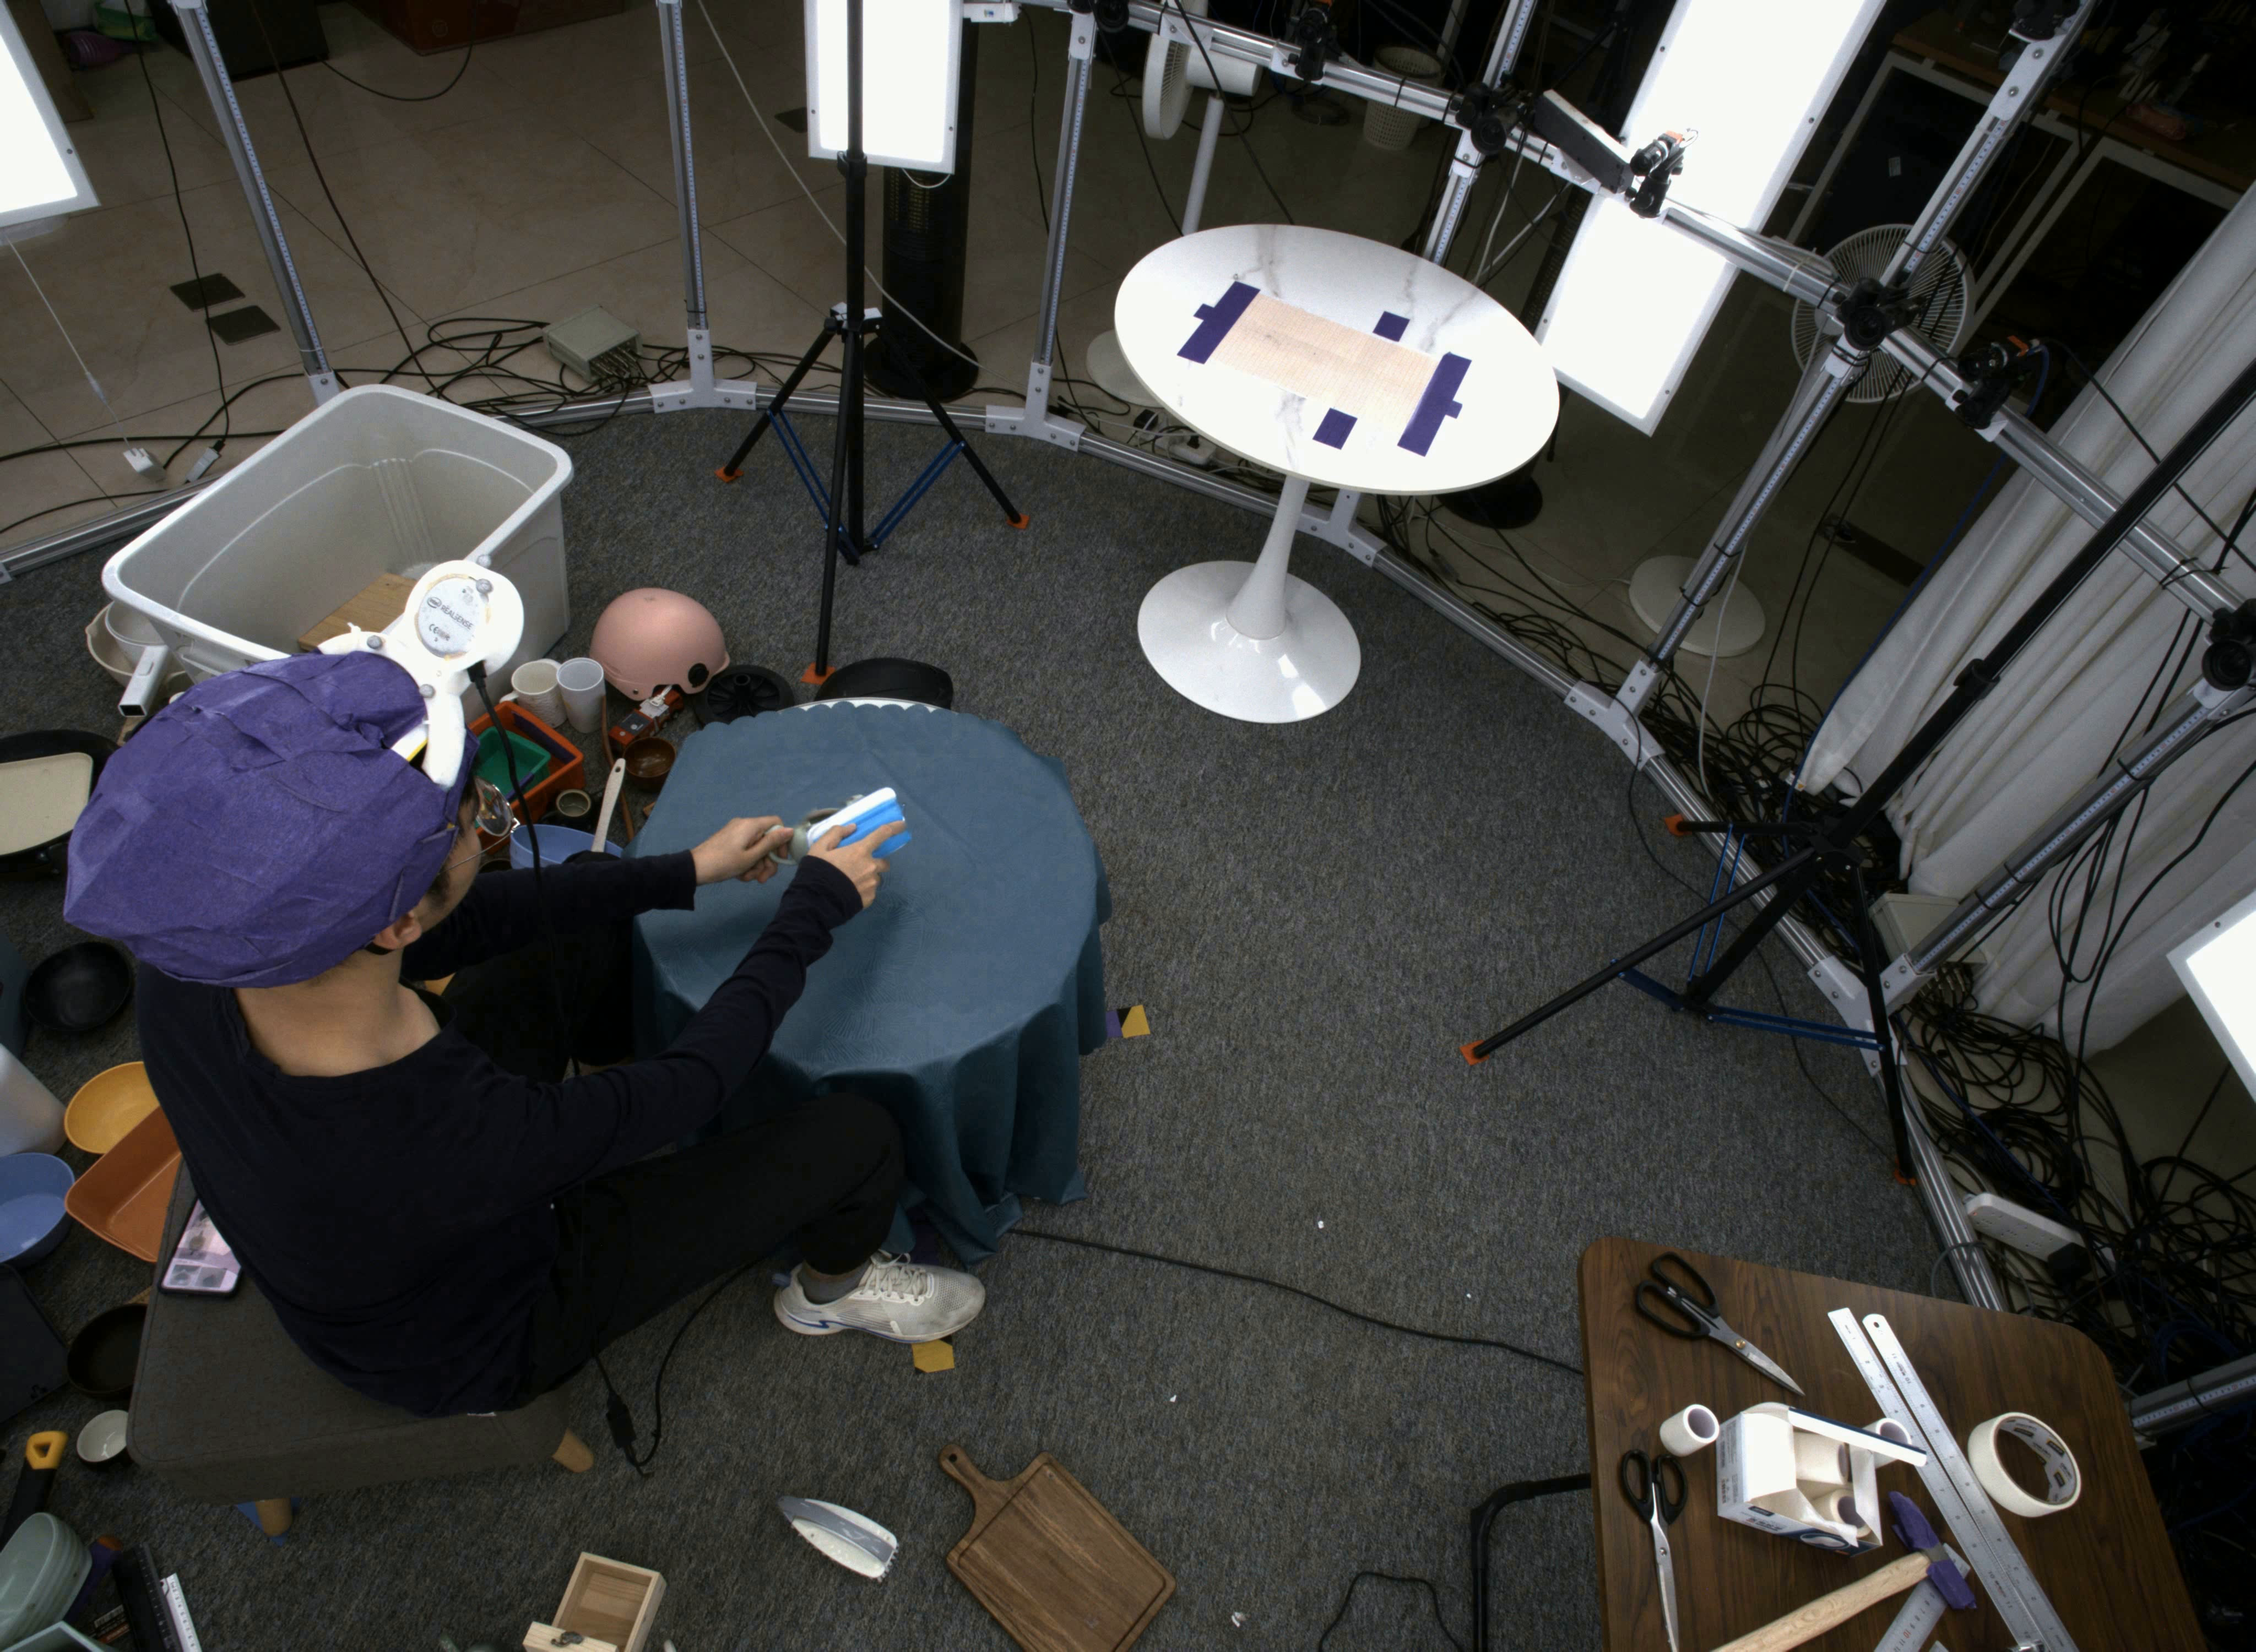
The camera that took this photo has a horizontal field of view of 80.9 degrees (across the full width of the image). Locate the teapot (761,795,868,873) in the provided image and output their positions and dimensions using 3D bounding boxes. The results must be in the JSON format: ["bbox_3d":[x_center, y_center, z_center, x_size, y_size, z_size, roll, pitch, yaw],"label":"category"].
[{"bbox_3d":[-0.381,0.016,1.611,0.144,0.077,0.085,-21,20,-25],"label":"teapot"}]

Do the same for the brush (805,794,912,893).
[{"bbox_3d":[-0.319,0.018,1.576,0.054,0.086,0.144,1,25,42],"label":"brush"}]
